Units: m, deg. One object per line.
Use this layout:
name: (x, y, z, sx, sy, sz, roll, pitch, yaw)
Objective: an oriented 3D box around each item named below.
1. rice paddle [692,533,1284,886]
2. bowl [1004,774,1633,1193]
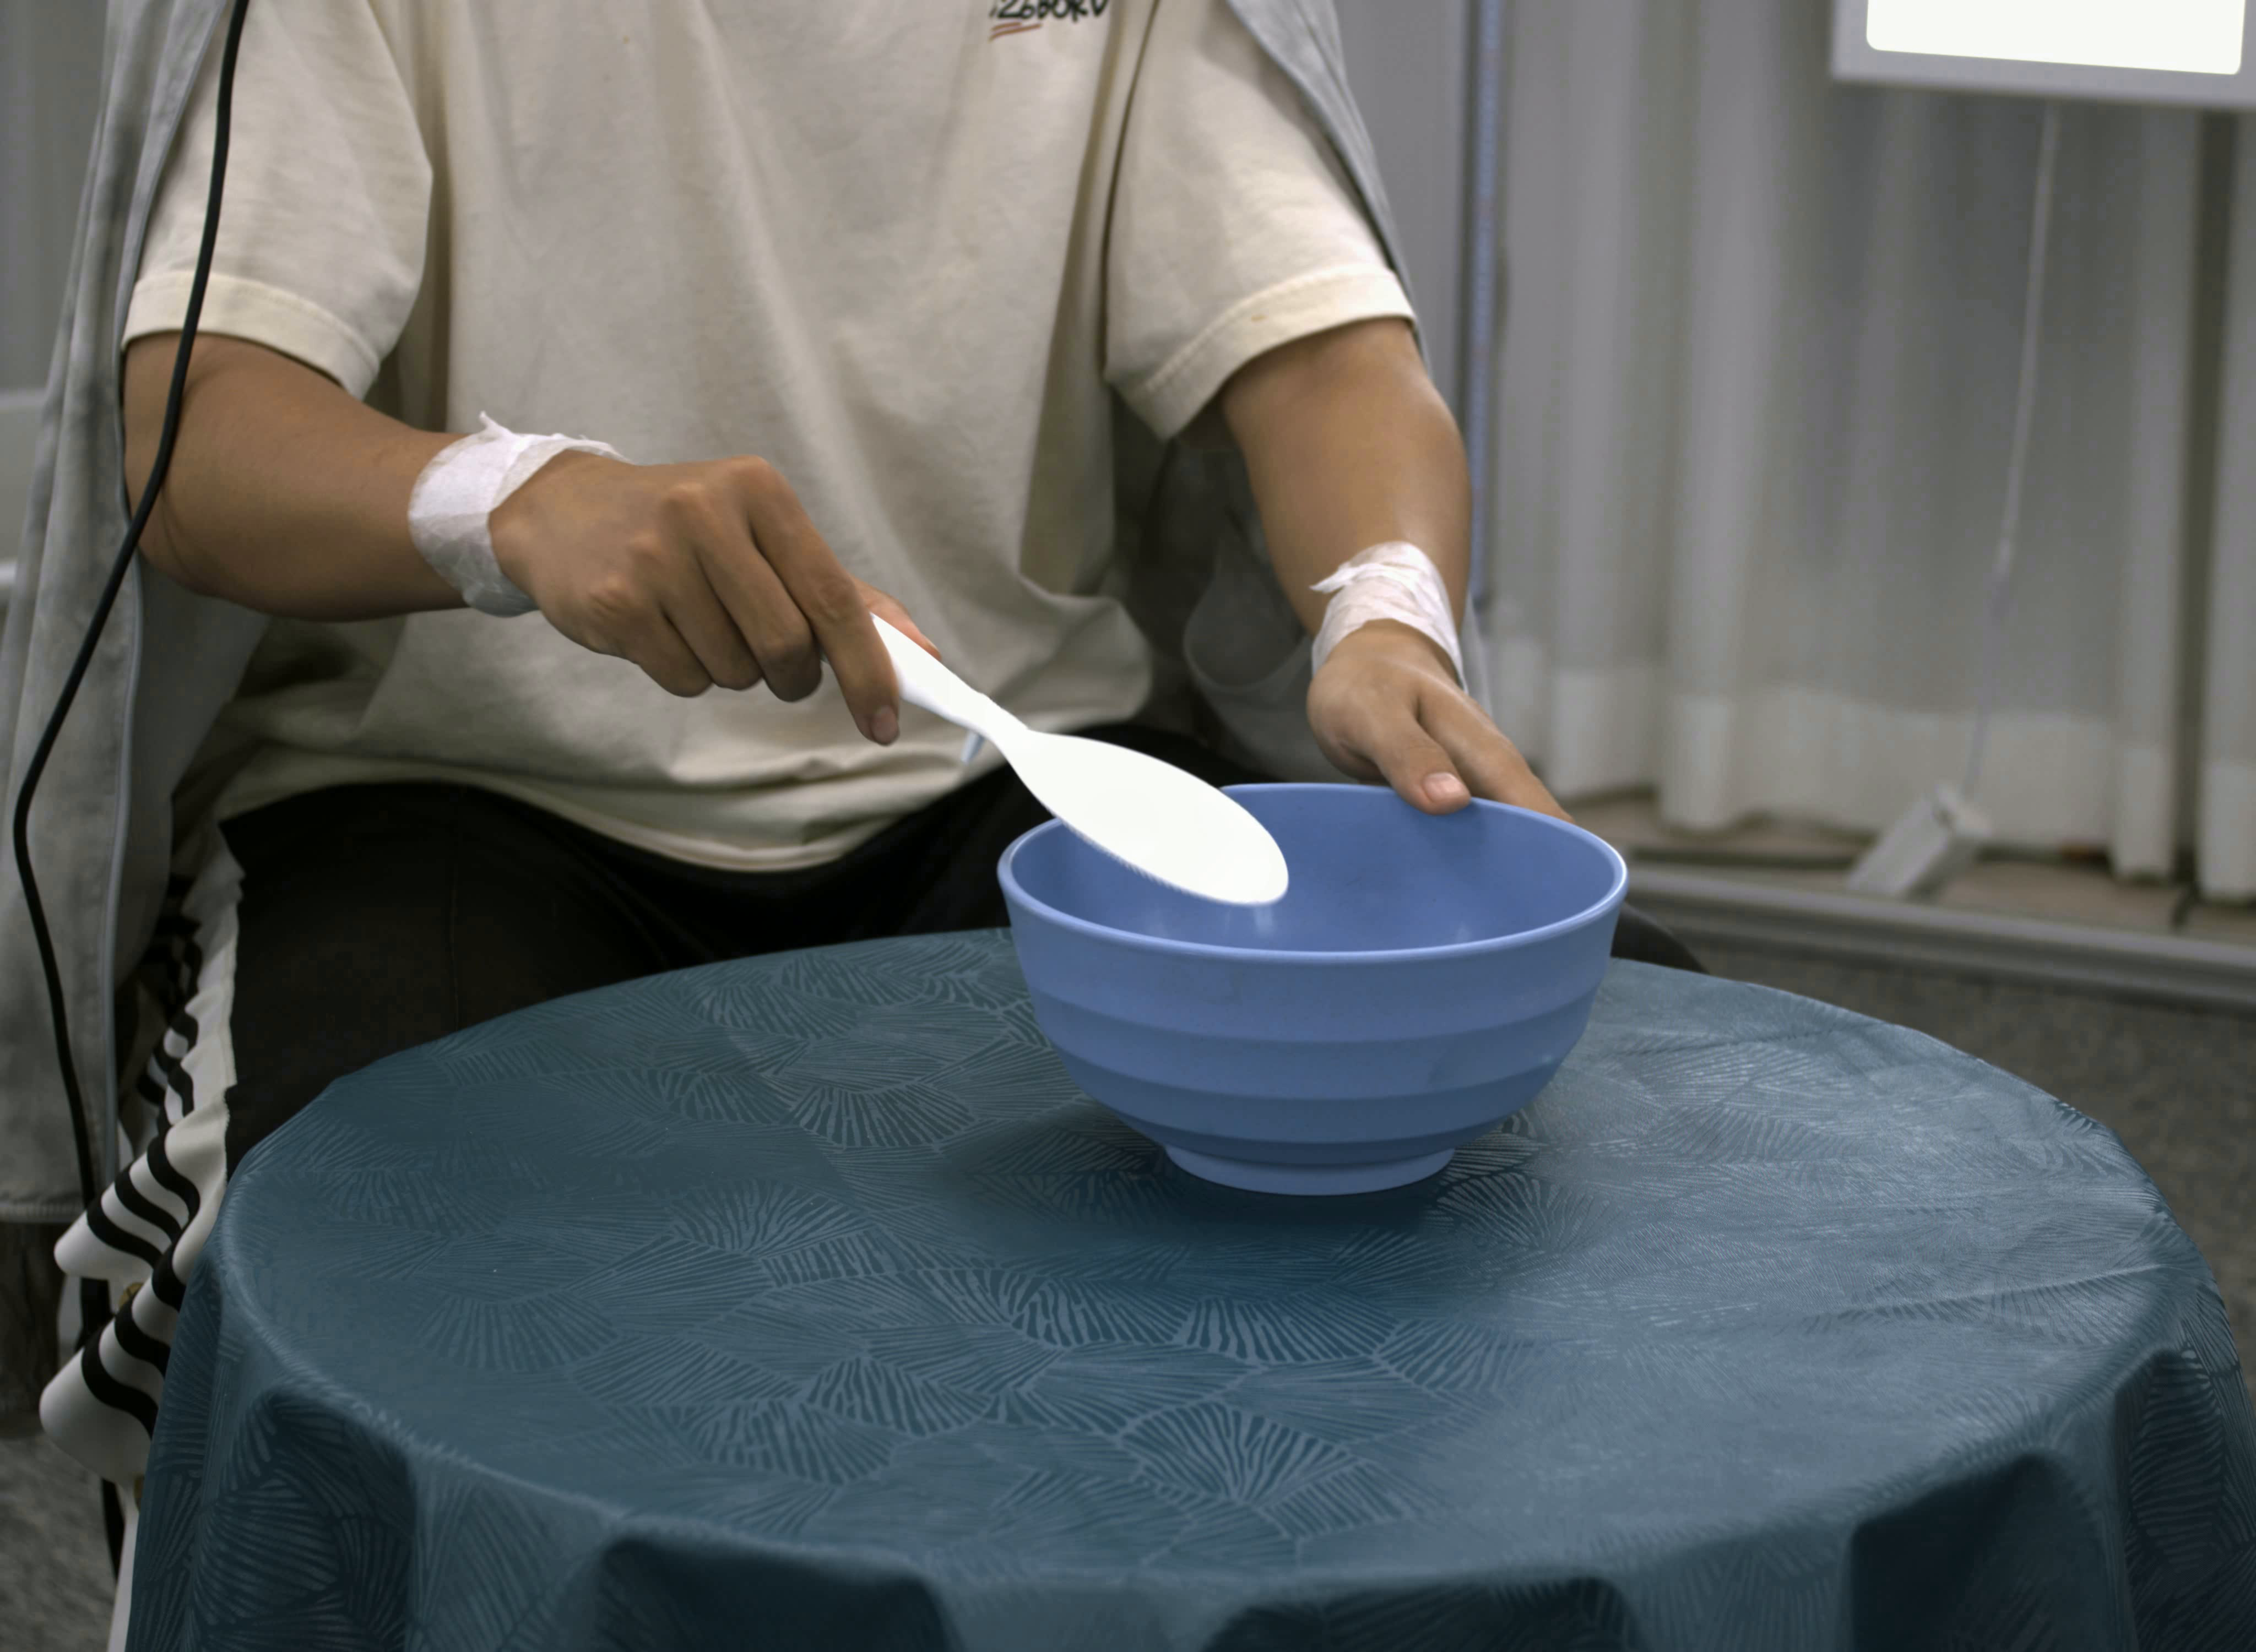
rice paddle: (-0.041, -0.034, 1.649, 0.204, 0.029, 0.068, 28, 29, 8)
bowl: (0.059, 0.055, 1.653, 0.196, 0.096, 0.195, 0, 17, 1)
